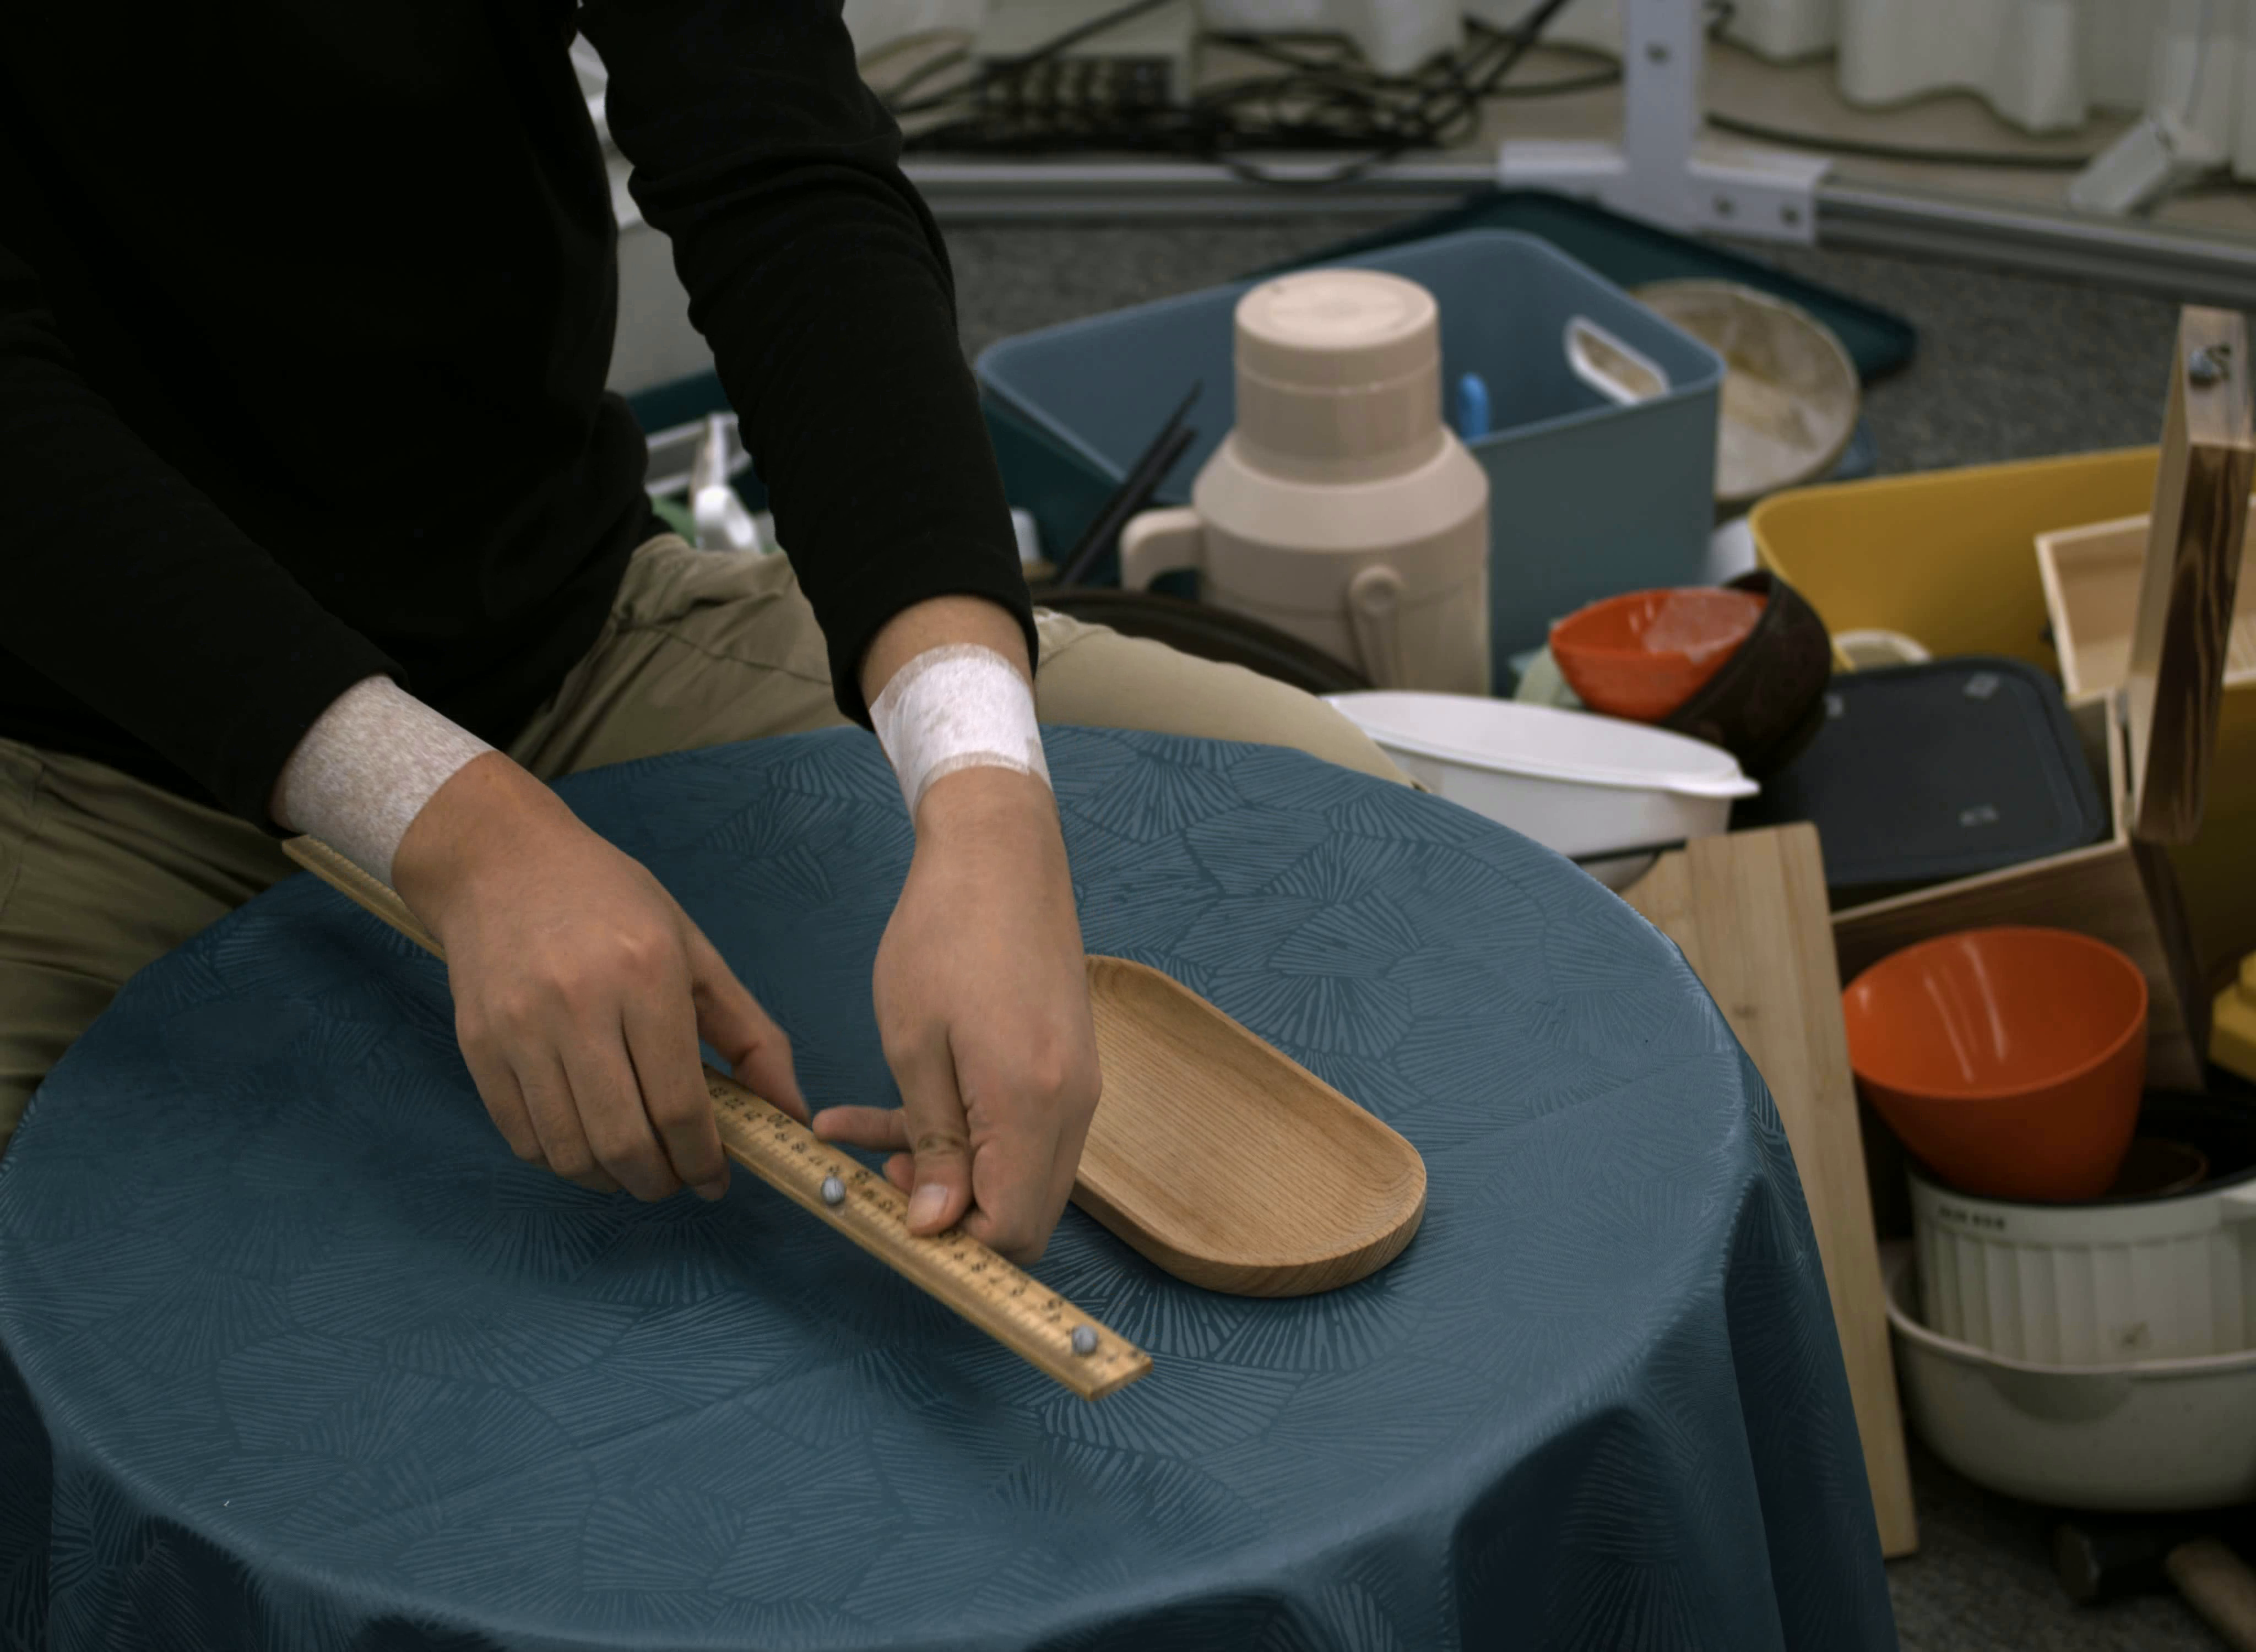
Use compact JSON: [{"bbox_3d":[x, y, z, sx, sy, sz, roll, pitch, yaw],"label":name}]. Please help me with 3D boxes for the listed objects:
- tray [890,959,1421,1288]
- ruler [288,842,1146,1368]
[{"bbox_3d":[0.007,0.098,1.887,0.102,0.020,0.231,-19,30,-31],"label":"tray"},{"bbox_3d":[-0.149,0.084,1.865,0.027,0.006,0.500,-17,27,-32],"label":"ruler"}]
